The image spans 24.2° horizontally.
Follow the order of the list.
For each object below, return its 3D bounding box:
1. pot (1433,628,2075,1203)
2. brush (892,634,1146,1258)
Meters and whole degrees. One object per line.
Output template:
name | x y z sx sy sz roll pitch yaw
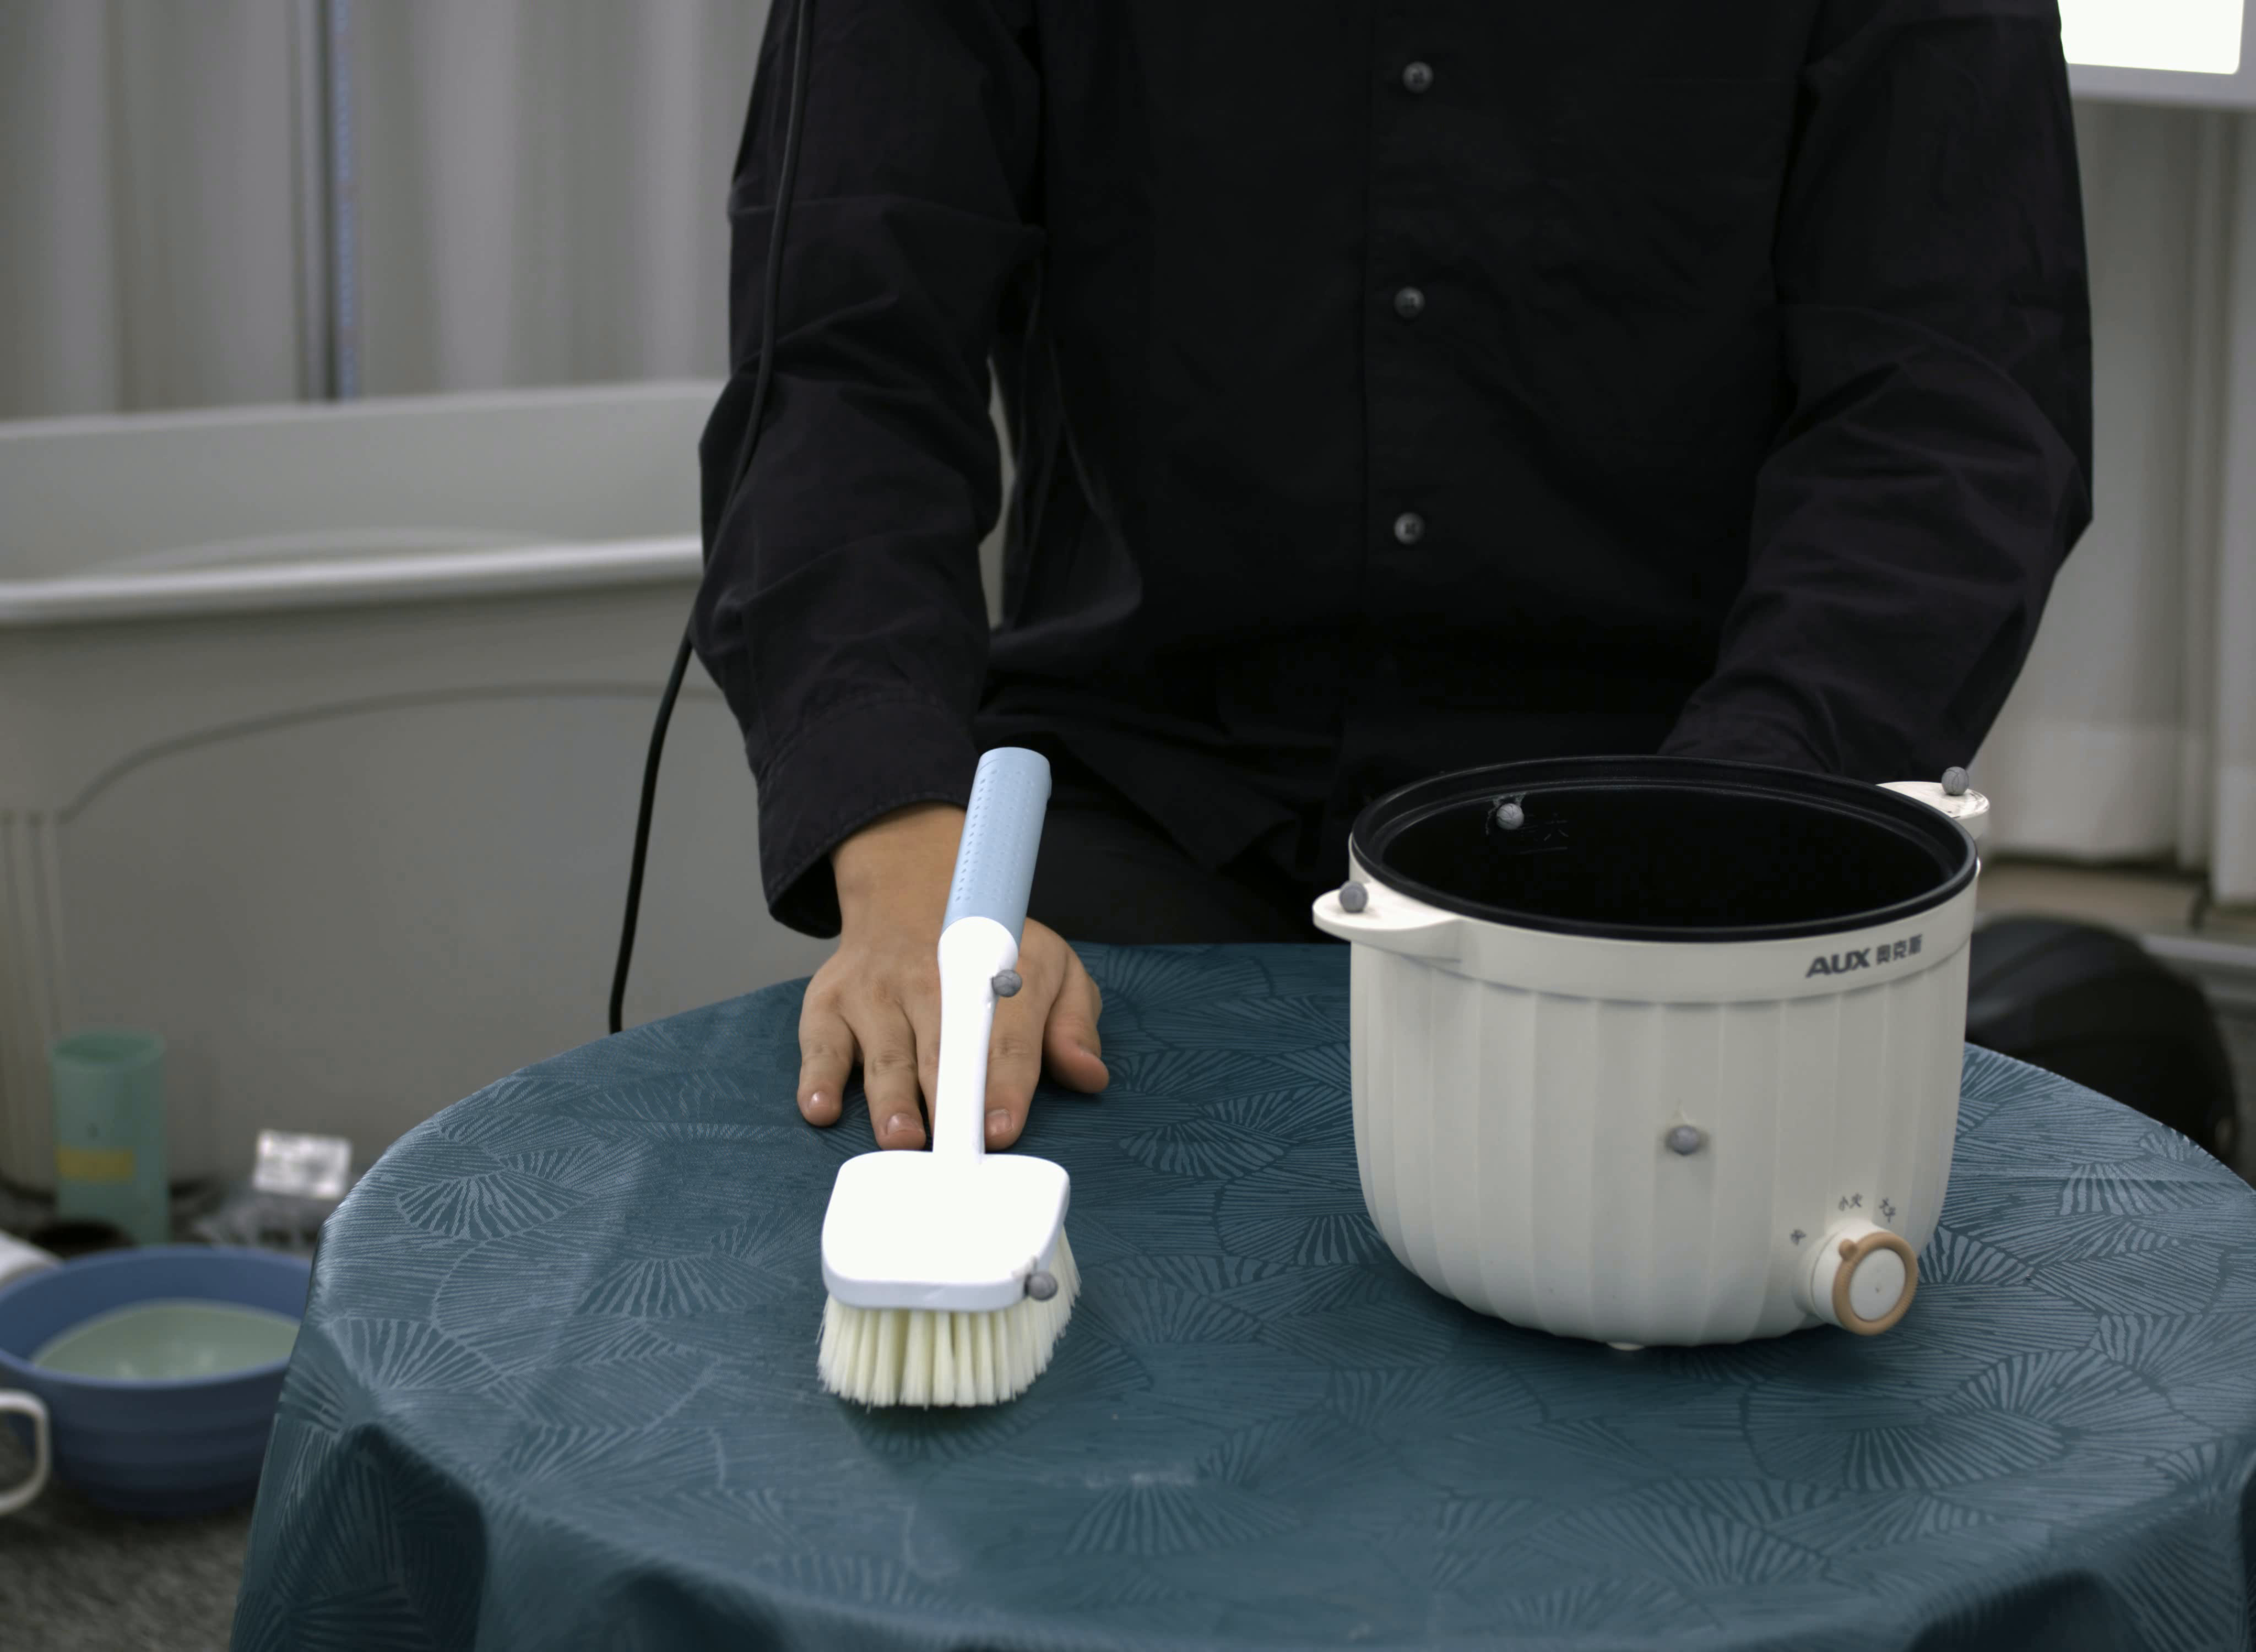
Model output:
pot | 0.192 0.028 1.570 0.241 0.144 0.188 -12 18 -34
brush | -0.023 0.049 1.609 0.083 0.084 0.323 34 25 -13
